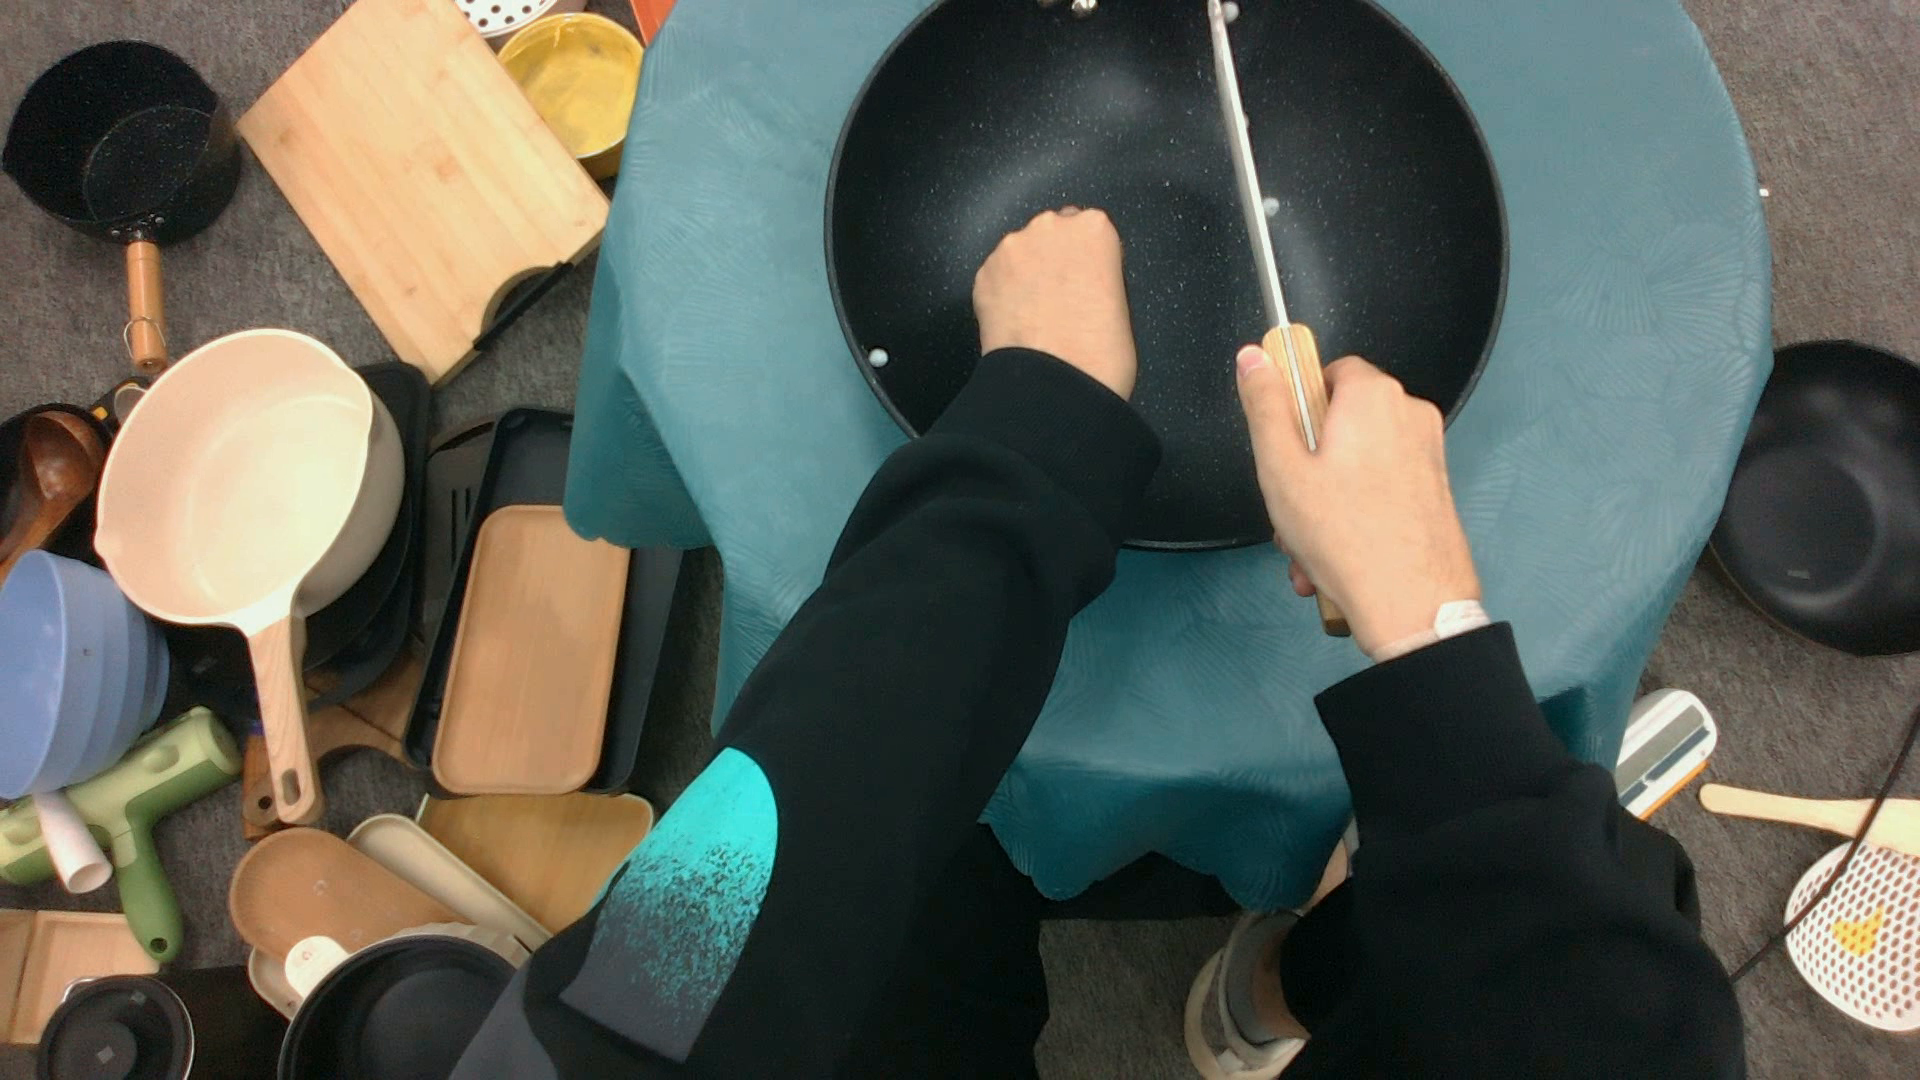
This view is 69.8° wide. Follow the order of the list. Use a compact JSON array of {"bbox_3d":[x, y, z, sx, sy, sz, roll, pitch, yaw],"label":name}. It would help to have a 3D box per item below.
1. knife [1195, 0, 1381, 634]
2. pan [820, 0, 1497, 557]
[{"bbox_3d":[0.136,-0.105,0.606,0.022,0.113,0.316,-13,62,10],"label":"knife"},{"bbox_3d":[0.071,-0.214,0.672,0.310,0.111,0.477,-12,75,-6],"label":"pan"}]
